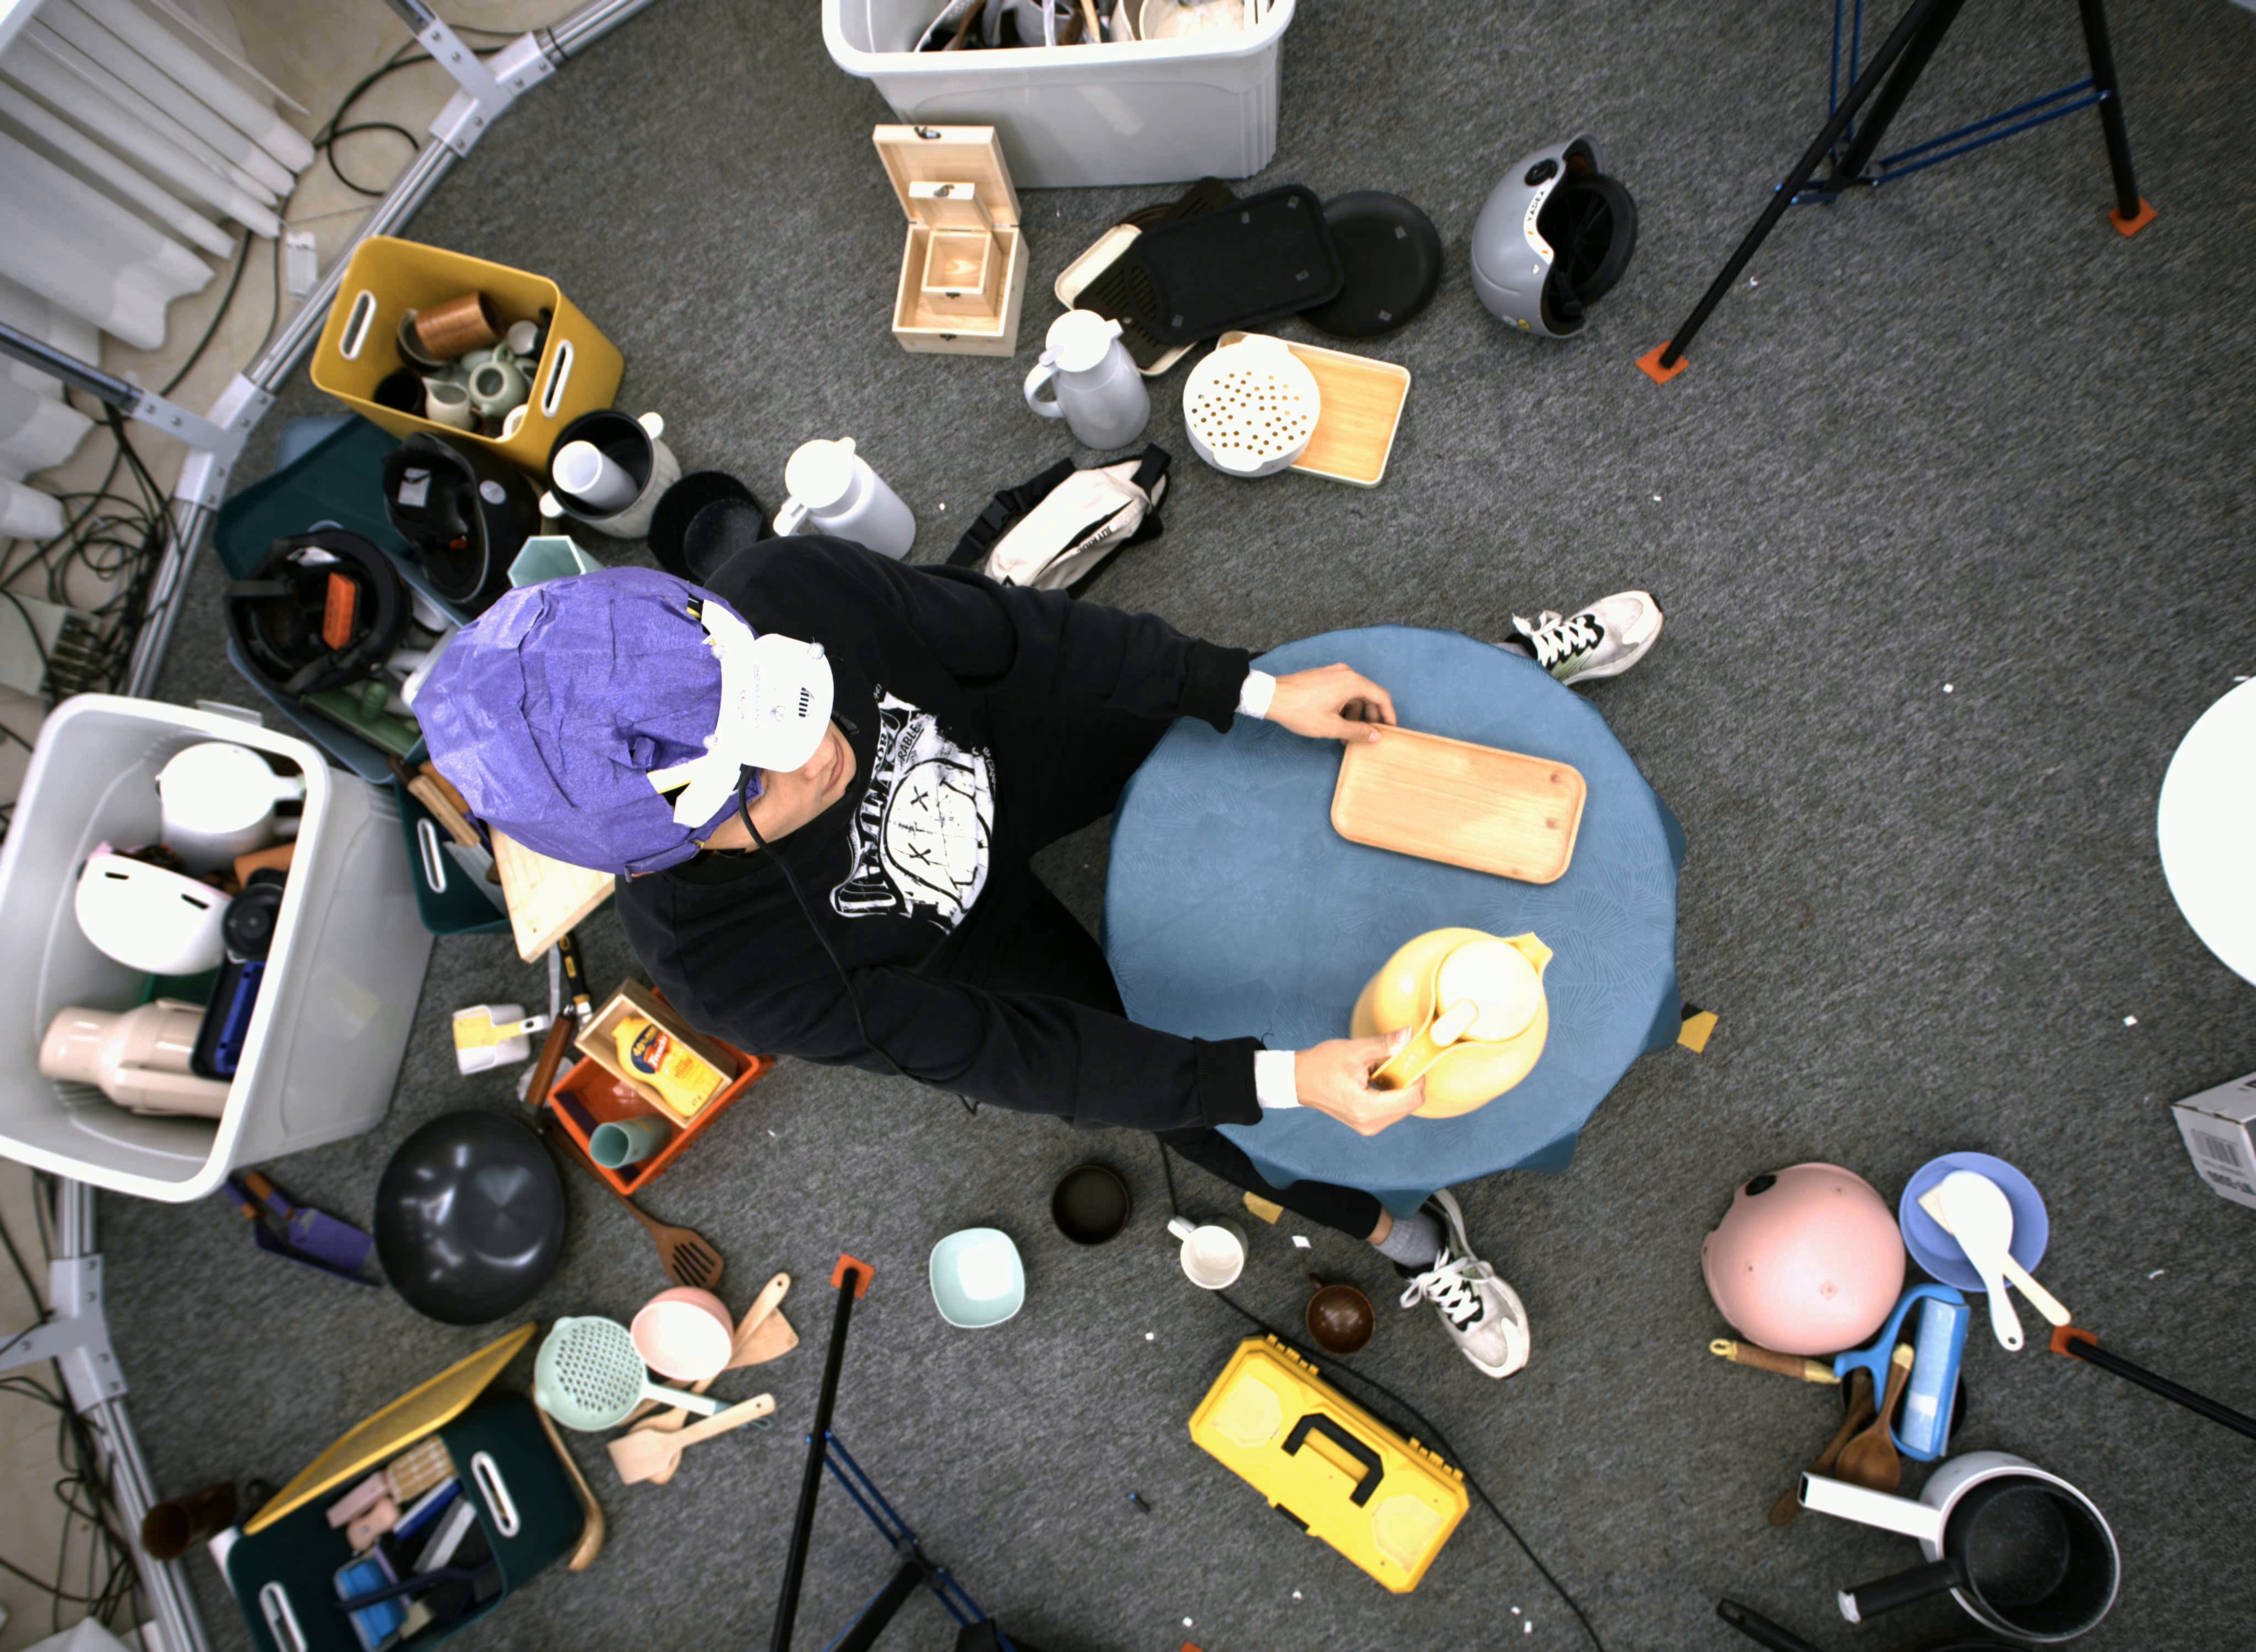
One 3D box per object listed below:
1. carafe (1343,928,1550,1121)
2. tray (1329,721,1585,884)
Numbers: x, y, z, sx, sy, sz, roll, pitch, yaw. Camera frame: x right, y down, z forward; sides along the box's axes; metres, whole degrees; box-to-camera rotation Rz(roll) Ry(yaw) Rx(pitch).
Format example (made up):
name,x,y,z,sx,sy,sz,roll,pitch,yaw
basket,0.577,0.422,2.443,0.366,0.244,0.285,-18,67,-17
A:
name,x,y,z,sx,sy,sz,roll,pitch,yaw
carafe,0.283,0.186,1.280,0.200,0.265,0.162,-36,74,-14
tray,0.341,-0.027,1.434,0.251,0.023,0.131,14,95,11
